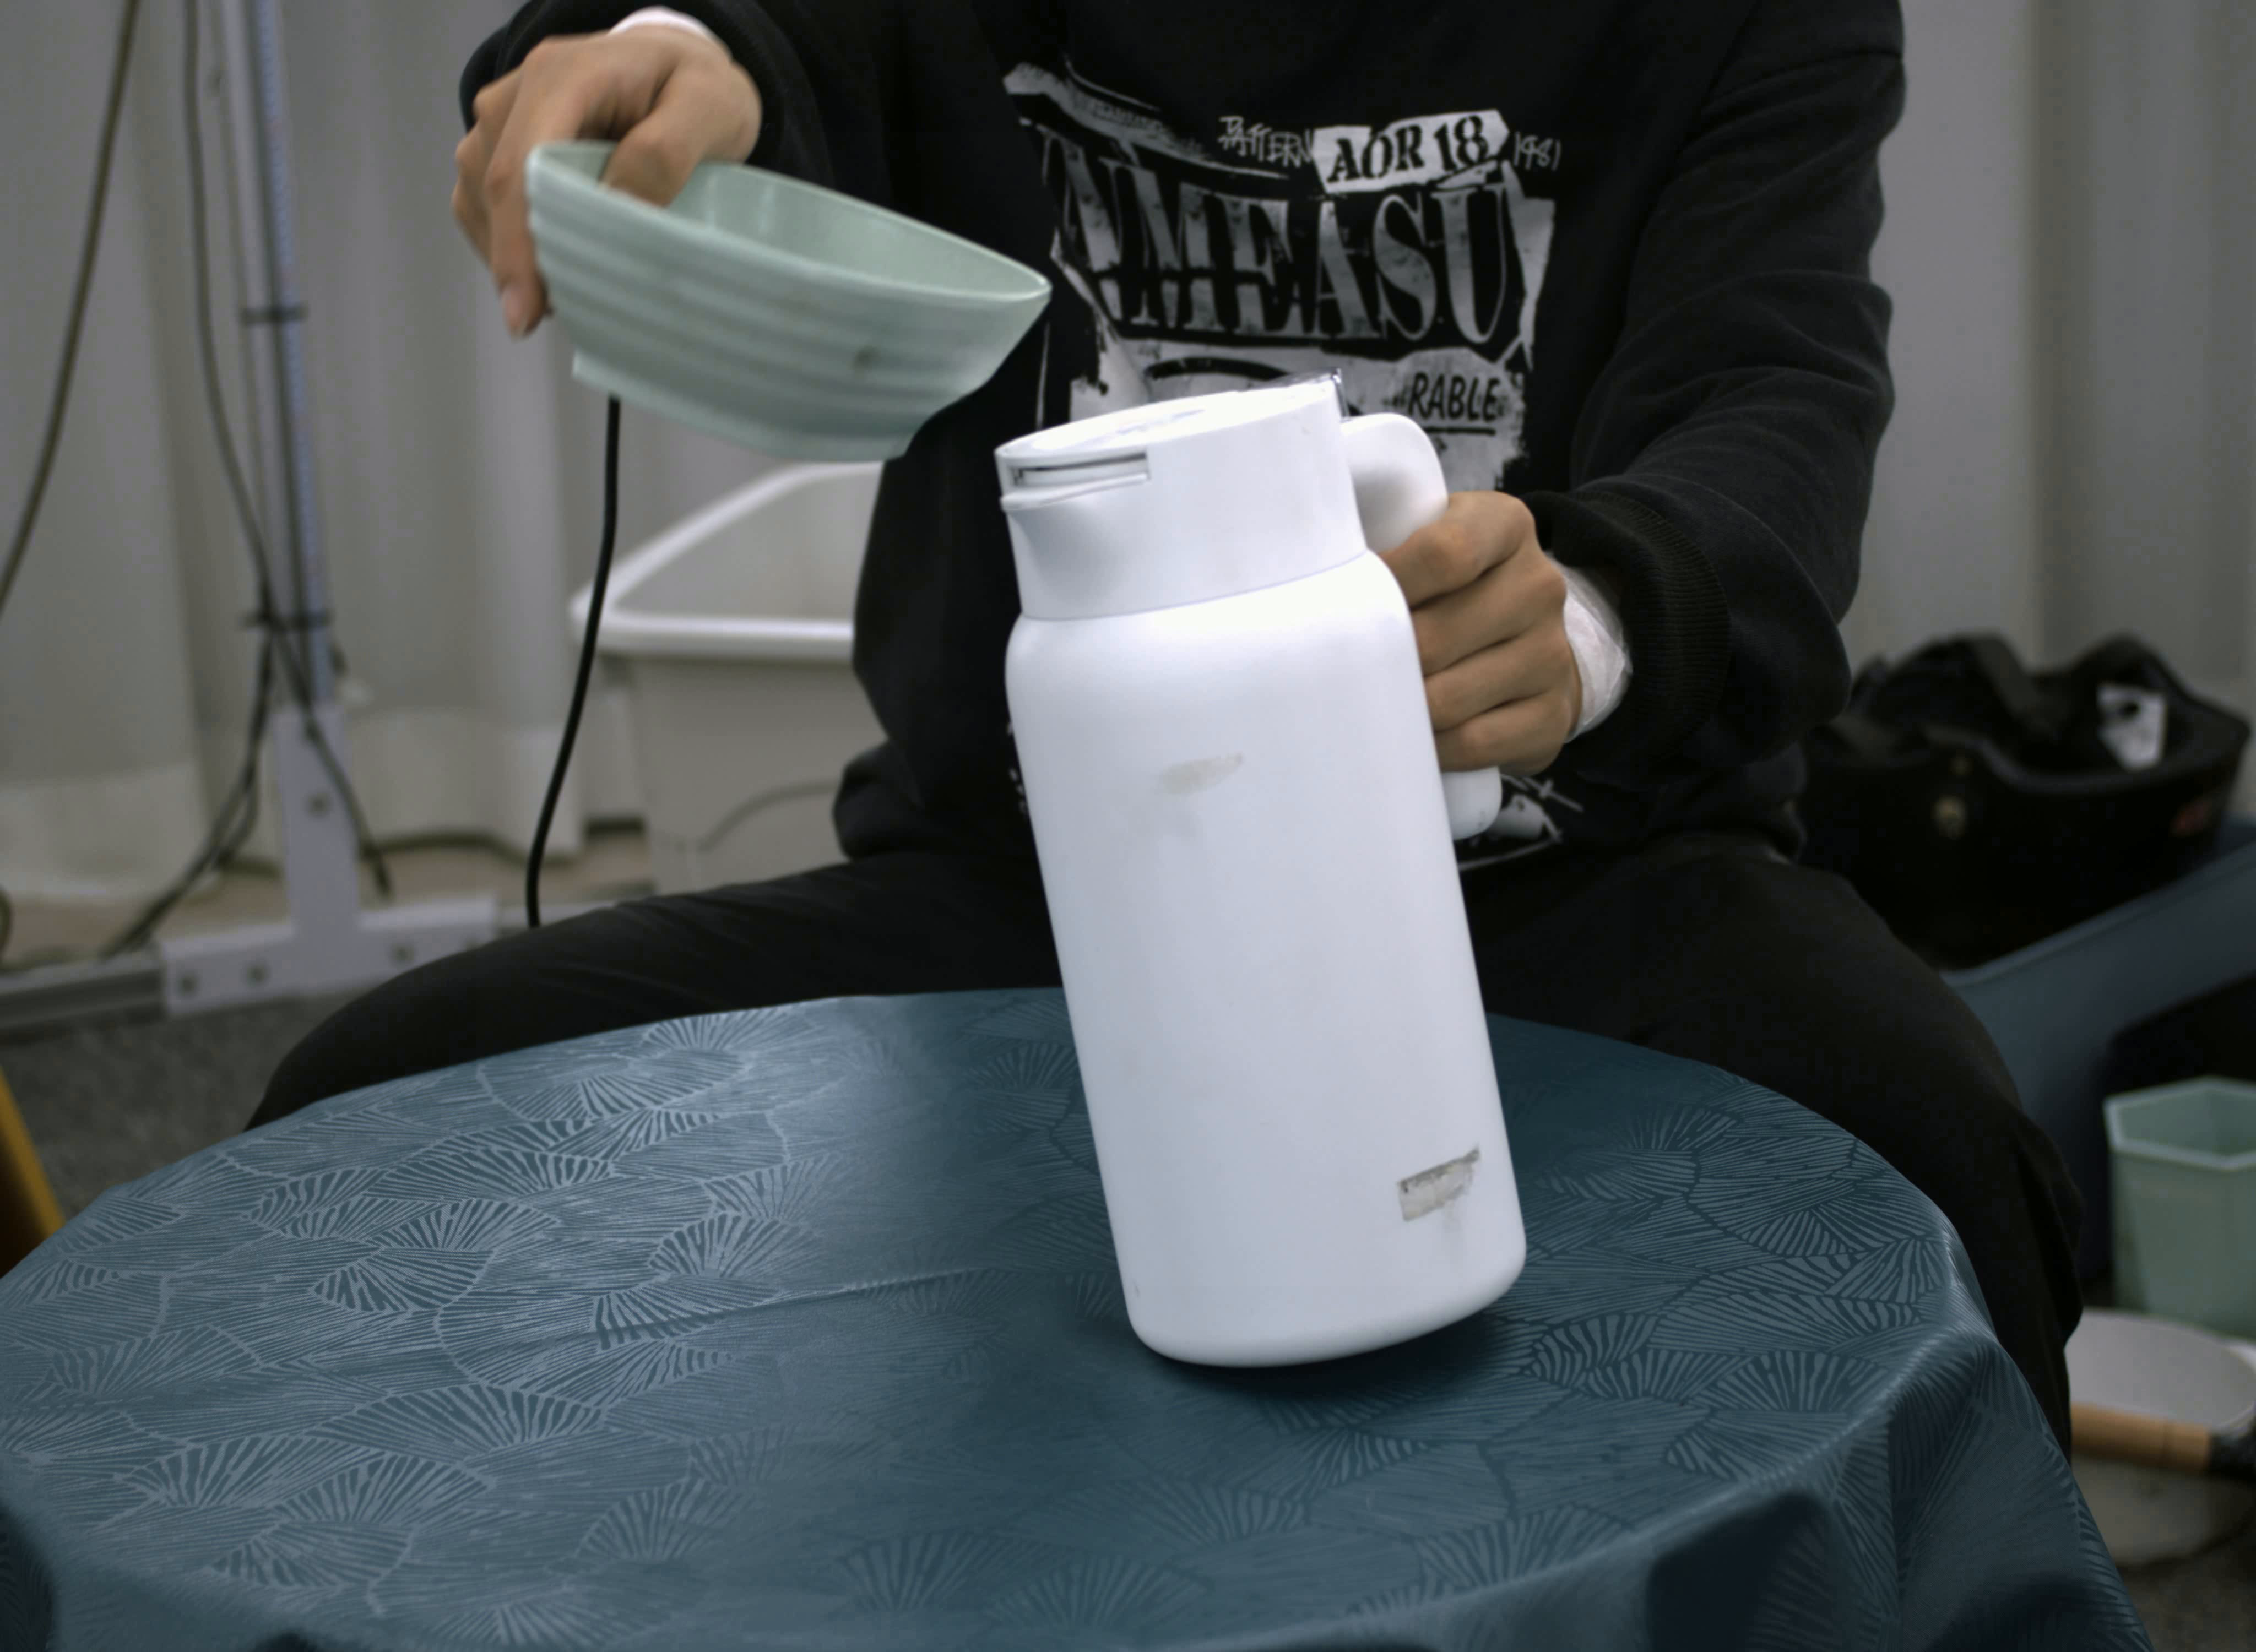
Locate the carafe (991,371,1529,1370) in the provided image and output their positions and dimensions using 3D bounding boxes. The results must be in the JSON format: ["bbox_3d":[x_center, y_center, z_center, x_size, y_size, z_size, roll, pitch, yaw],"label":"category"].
[{"bbox_3d":[0.044,0.008,1.571,0.124,0.268,0.173,-7,9,40],"label":"carafe"}]

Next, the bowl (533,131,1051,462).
[{"bbox_3d":[-0.100,-0.143,1.520,0.151,0.058,0.152,17,12,-4],"label":"bowl"}]
